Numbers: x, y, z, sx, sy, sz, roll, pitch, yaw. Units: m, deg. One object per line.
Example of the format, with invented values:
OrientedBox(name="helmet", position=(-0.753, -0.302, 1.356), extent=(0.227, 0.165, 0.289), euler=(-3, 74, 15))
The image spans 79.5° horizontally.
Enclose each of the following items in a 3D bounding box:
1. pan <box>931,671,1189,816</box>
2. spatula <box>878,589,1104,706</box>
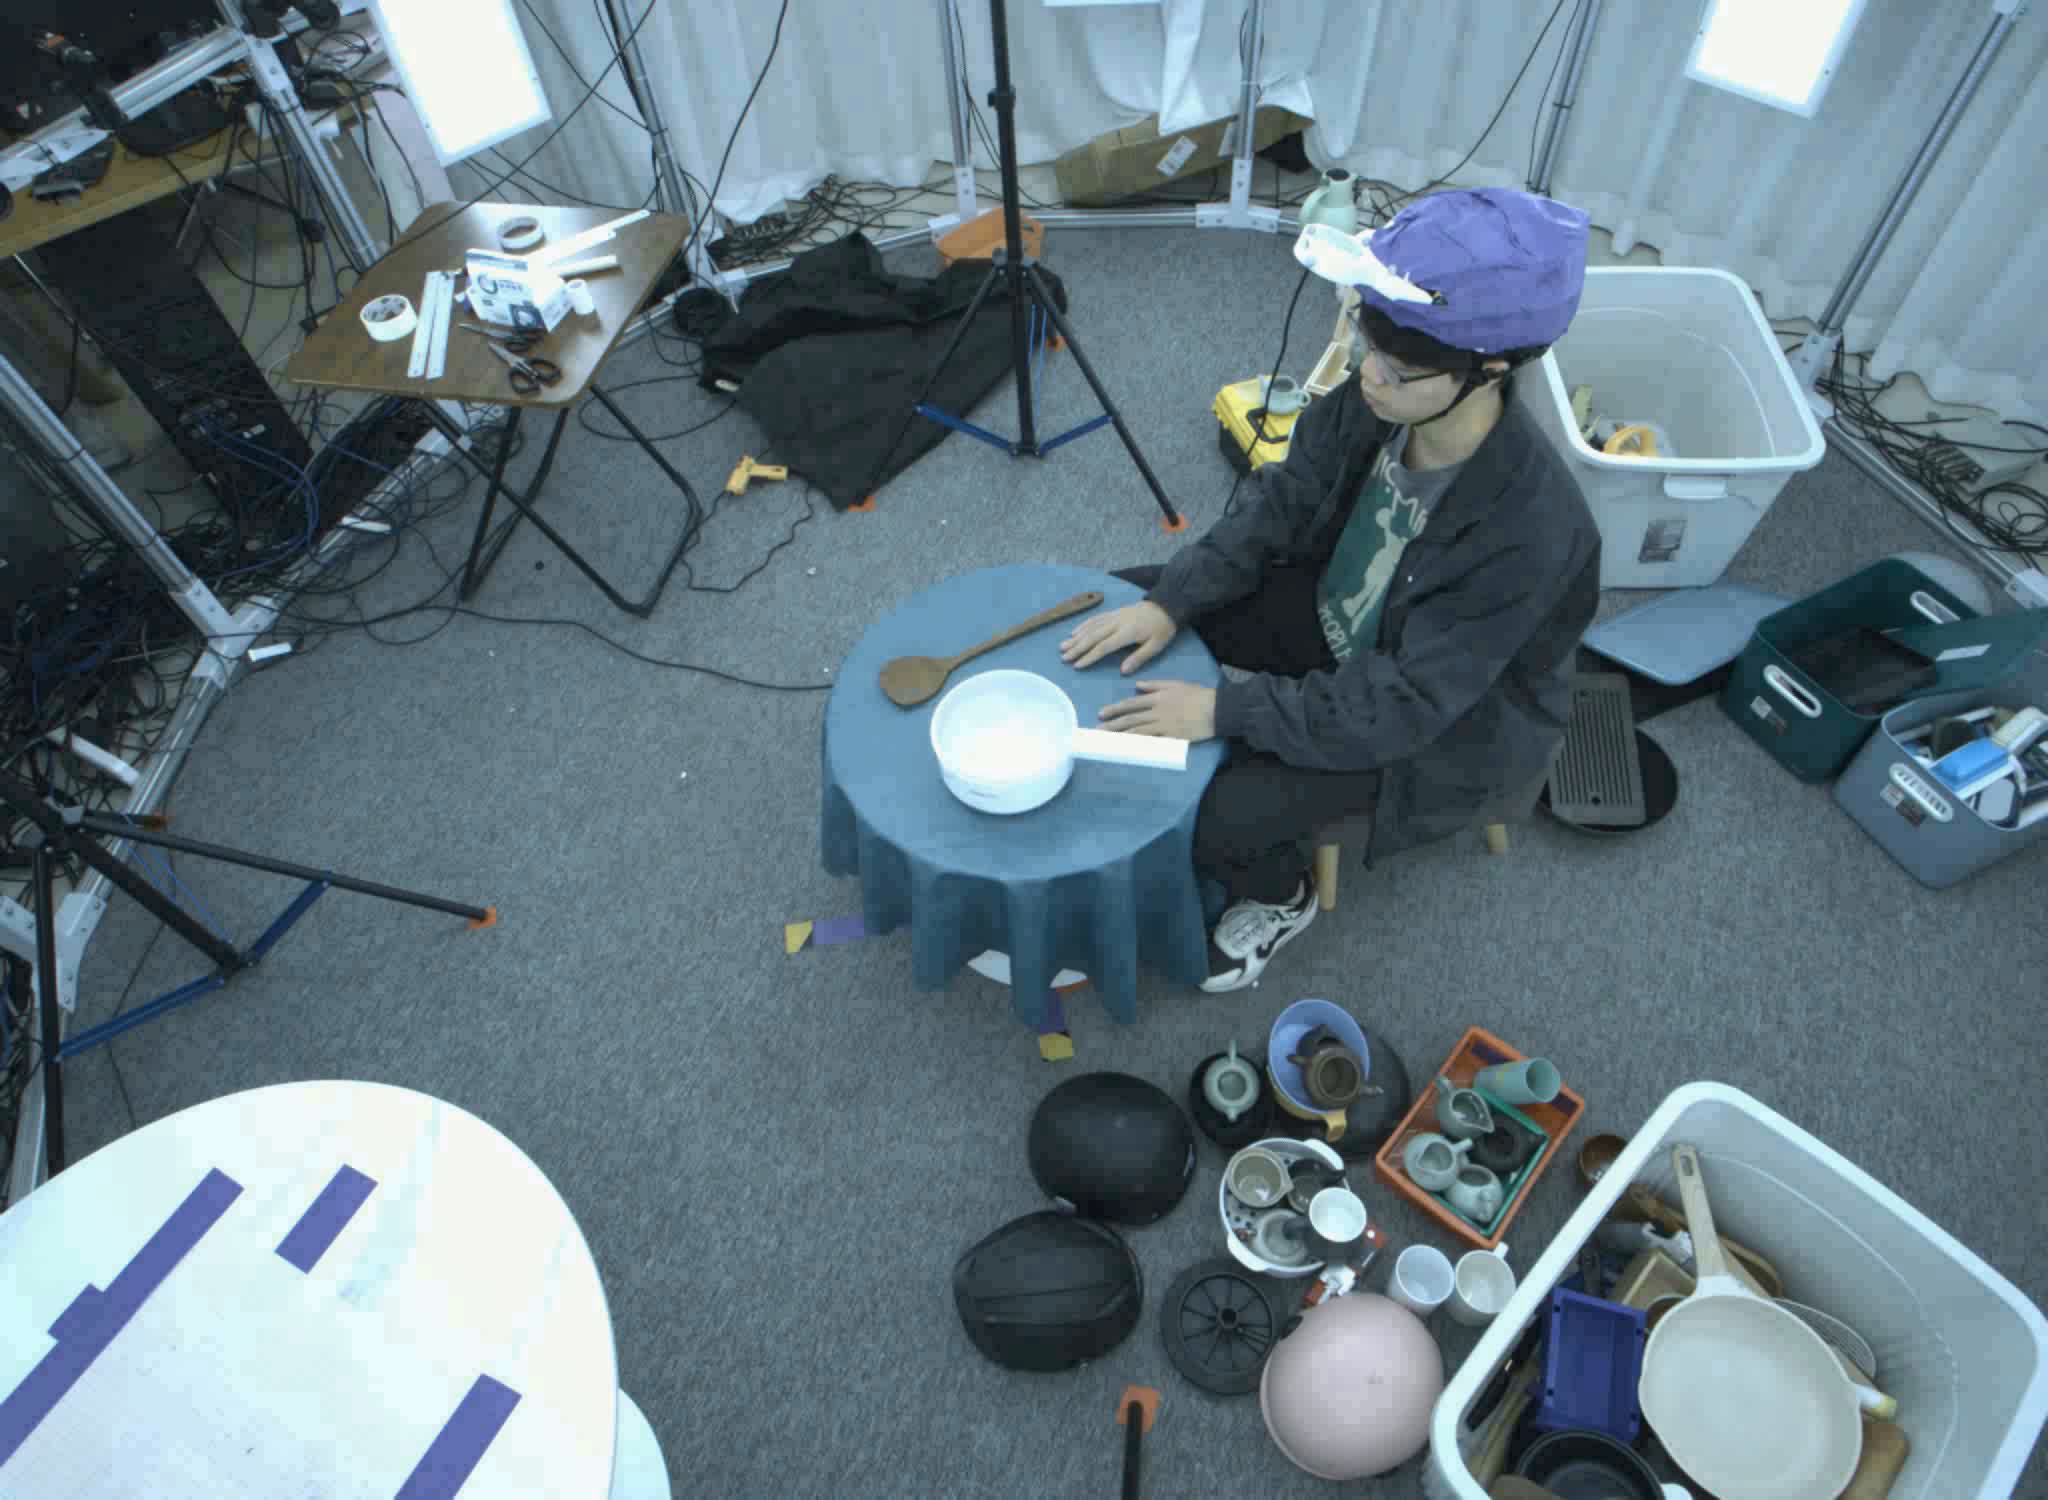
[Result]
OrientedBox(name="pan", position=(0.050, 0.007, 1.714), extent=(0.353, 0.103, 0.200), euler=(9, 54, 6))
OrientedBox(name="spatula", position=(-0.043, -0.170, 1.893), extent=(0.389, 0.016, 0.094), euler=(-26, 58, -16))
